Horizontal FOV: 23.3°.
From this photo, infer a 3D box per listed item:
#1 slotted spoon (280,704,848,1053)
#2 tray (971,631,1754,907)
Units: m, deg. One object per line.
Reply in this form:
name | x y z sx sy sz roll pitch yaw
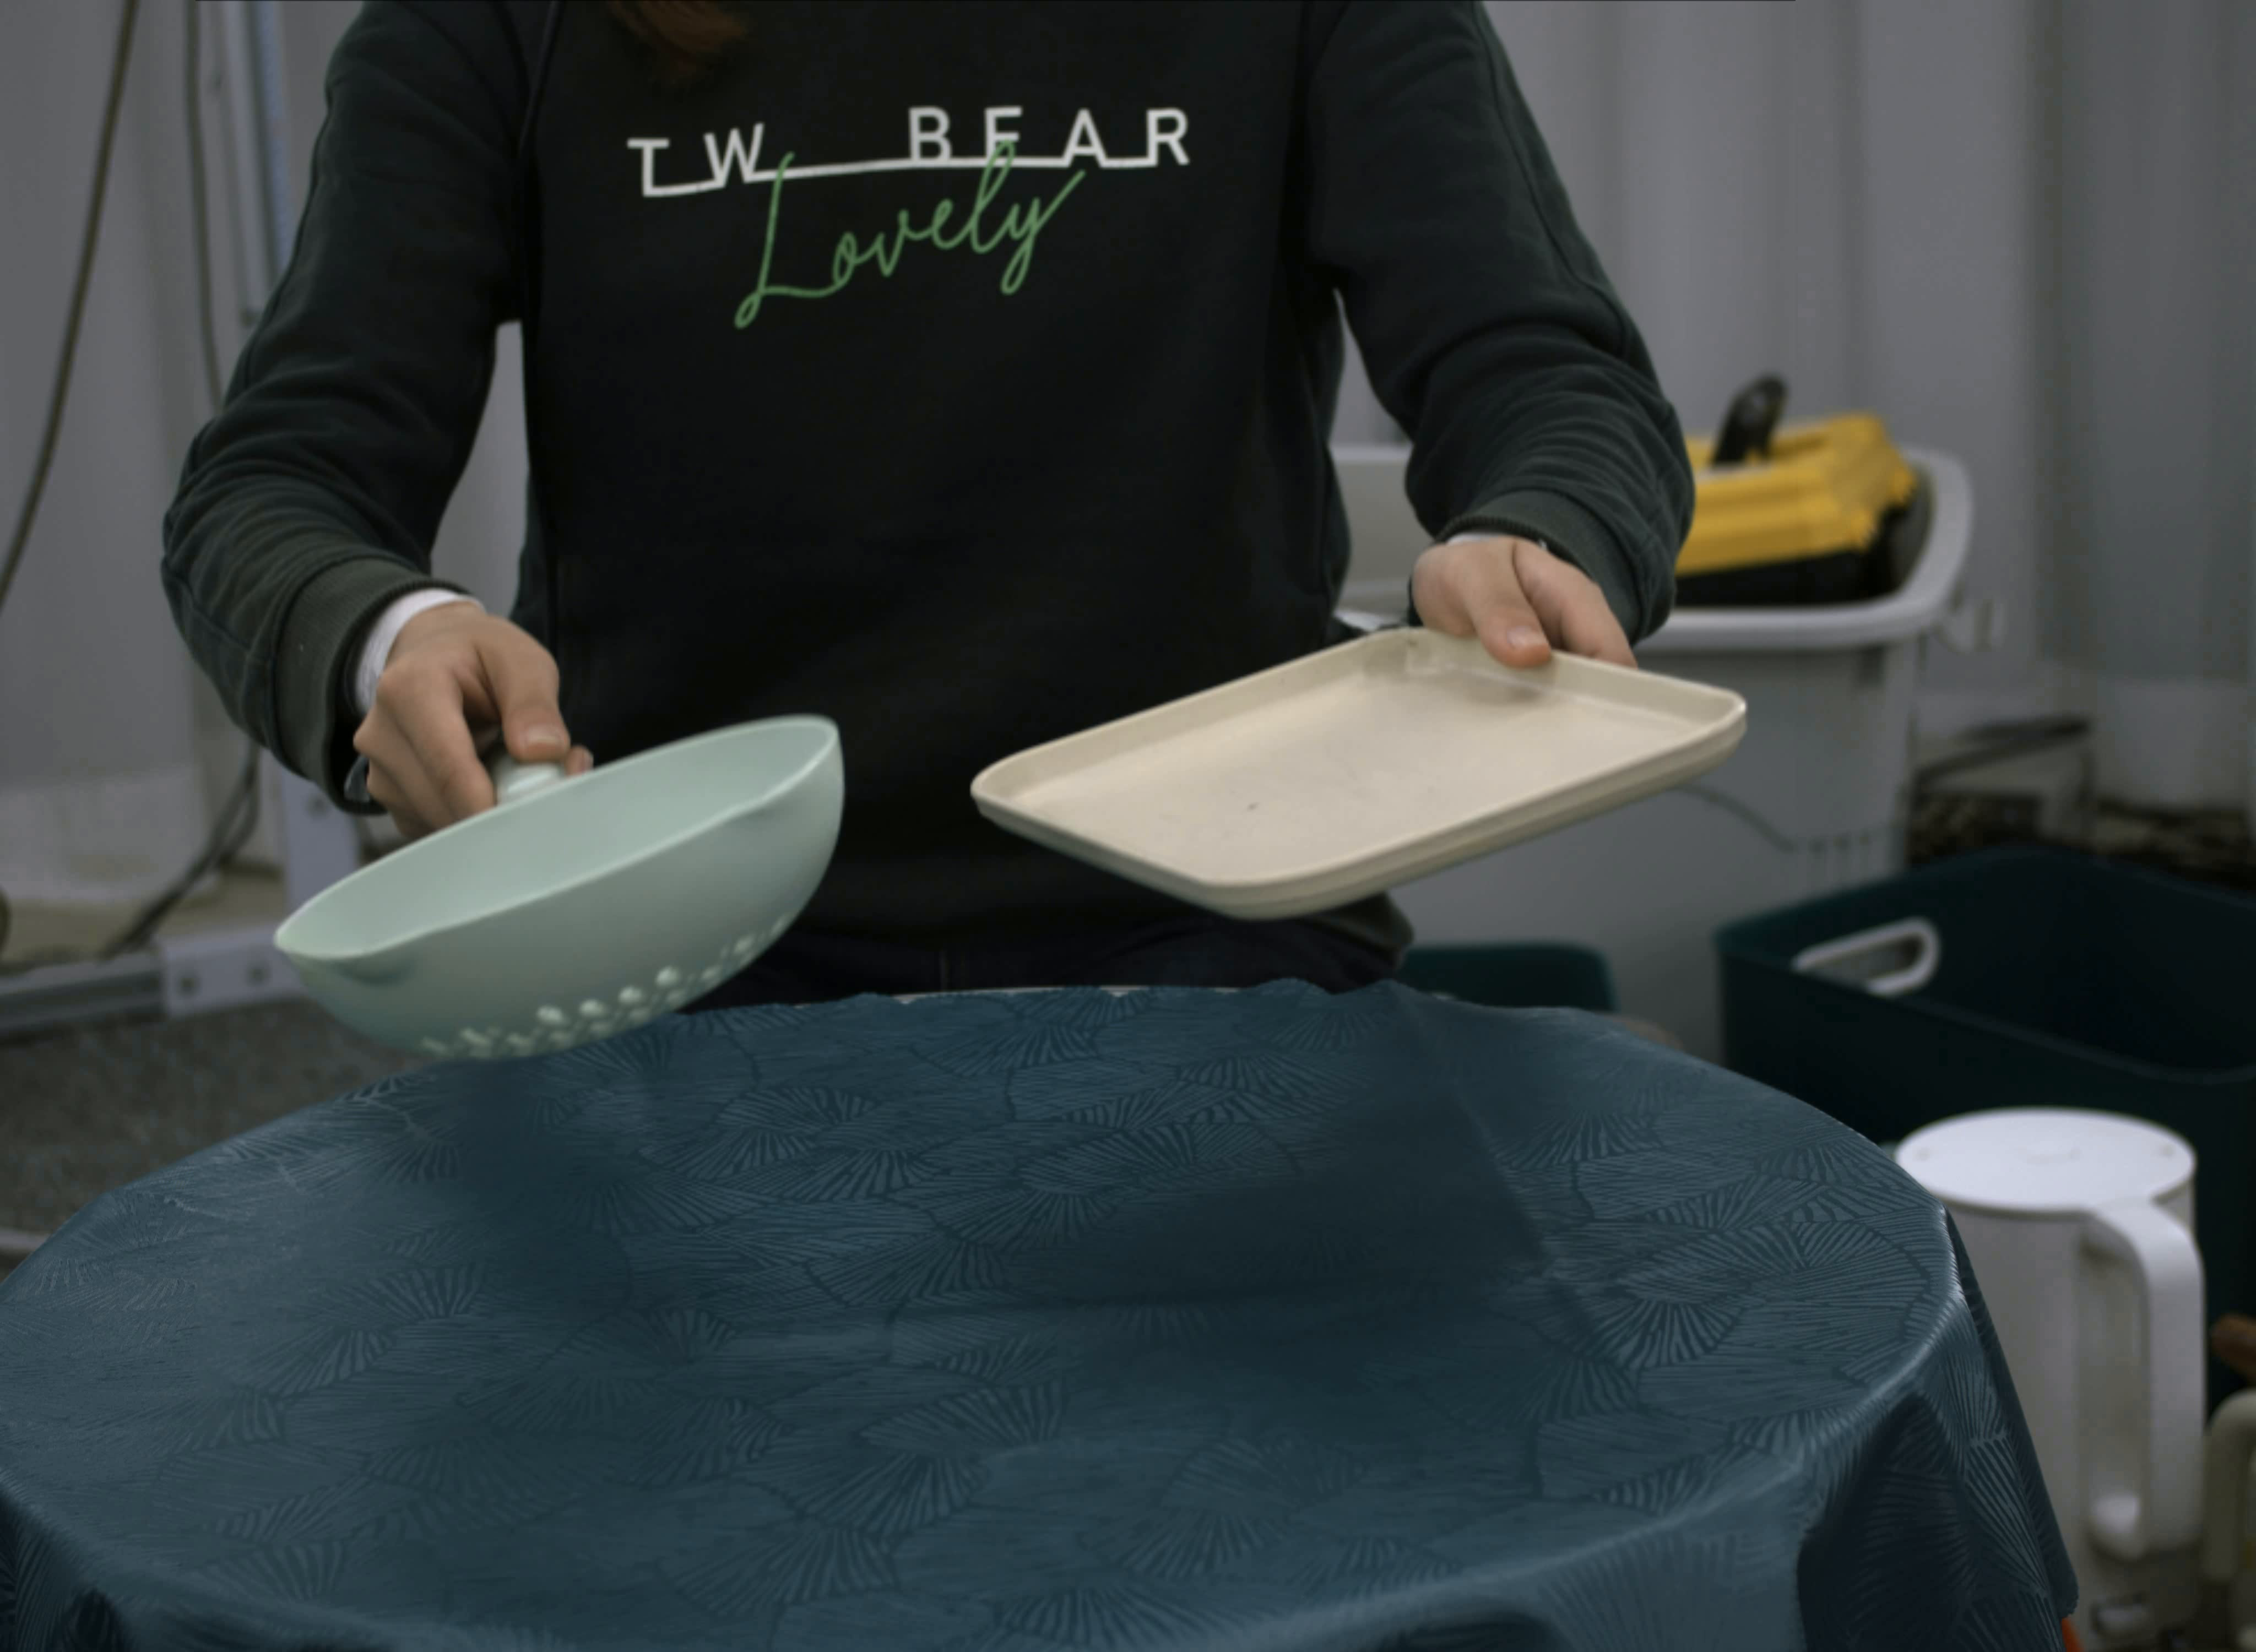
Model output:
slotted spoon | -0.171 -0.002 1.631 0.169 0.075 0.362 -21 18 -6
tray | 0.065 -0.018 1.599 0.171 0.017 0.241 -19 13 -19
